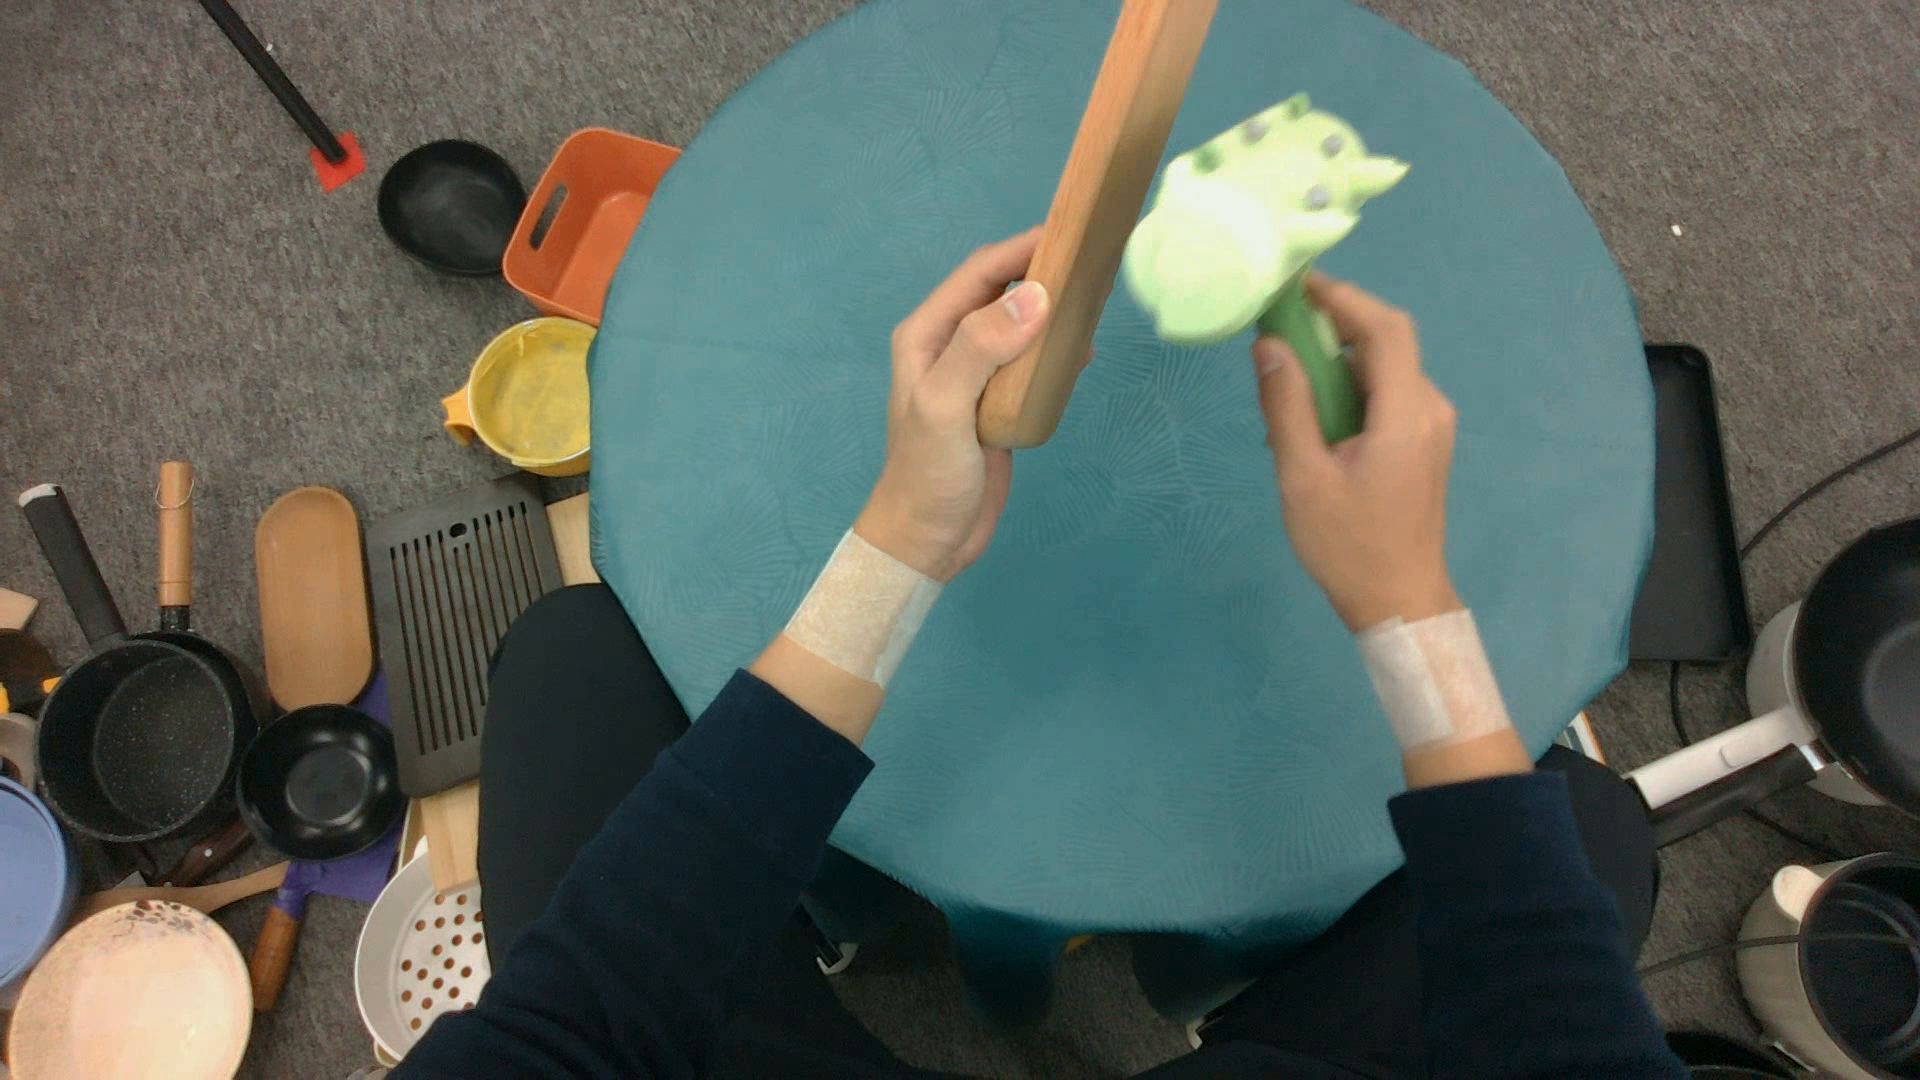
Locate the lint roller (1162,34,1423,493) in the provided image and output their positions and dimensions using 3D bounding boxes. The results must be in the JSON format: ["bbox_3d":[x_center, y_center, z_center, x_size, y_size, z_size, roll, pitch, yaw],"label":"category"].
[{"bbox_3d":[0.159,-0.109,0.558,0.082,0.199,0.183,-20,104,31],"label":"lint roller"}]

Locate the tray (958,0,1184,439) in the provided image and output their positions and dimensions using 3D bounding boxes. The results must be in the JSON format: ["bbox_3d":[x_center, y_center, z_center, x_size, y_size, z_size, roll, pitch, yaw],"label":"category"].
[{"bbox_3d":[0.055,-0.159,0.567,0.023,0.131,0.250,20,98,12],"label":"tray"}]
